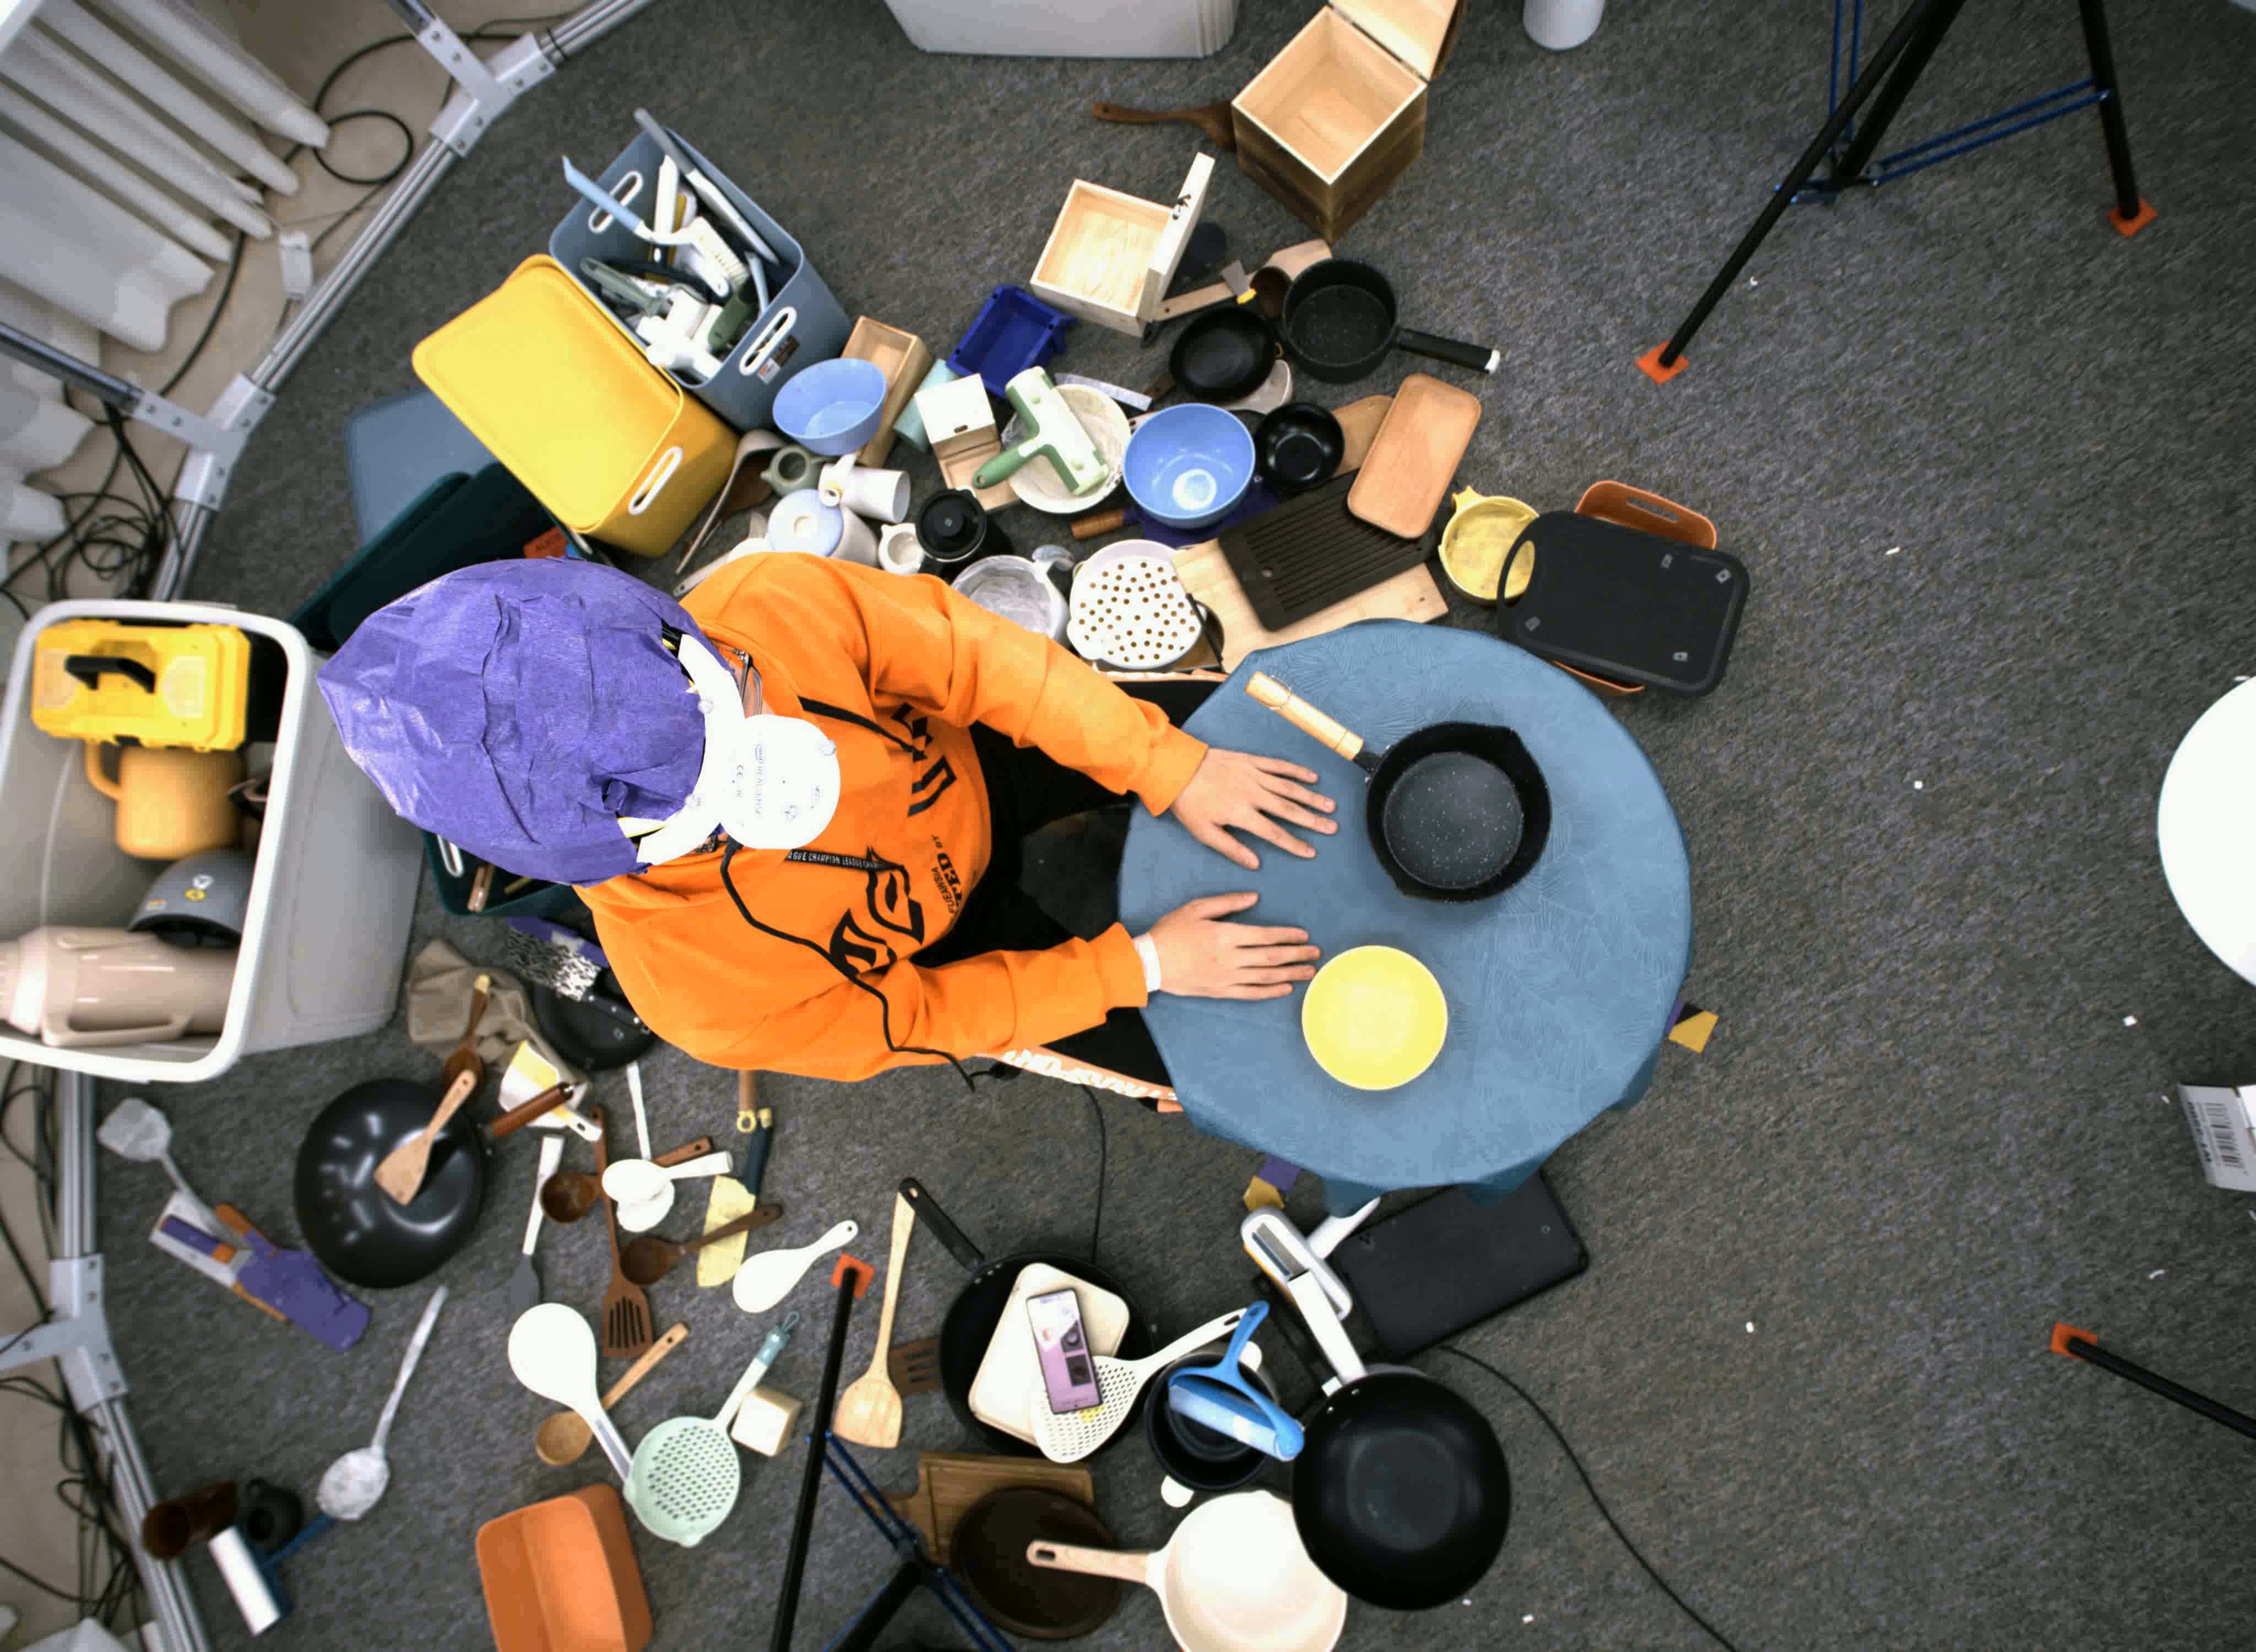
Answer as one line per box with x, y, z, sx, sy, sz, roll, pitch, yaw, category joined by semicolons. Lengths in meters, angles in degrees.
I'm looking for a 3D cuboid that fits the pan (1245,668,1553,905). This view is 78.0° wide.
0.268;-0.054;1.413;0.342;0.108;0.208;32;94;9;pan

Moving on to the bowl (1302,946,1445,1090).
0.252;0.196;1.427;0.146;0.060;0.144;-1;85;10;bowl
